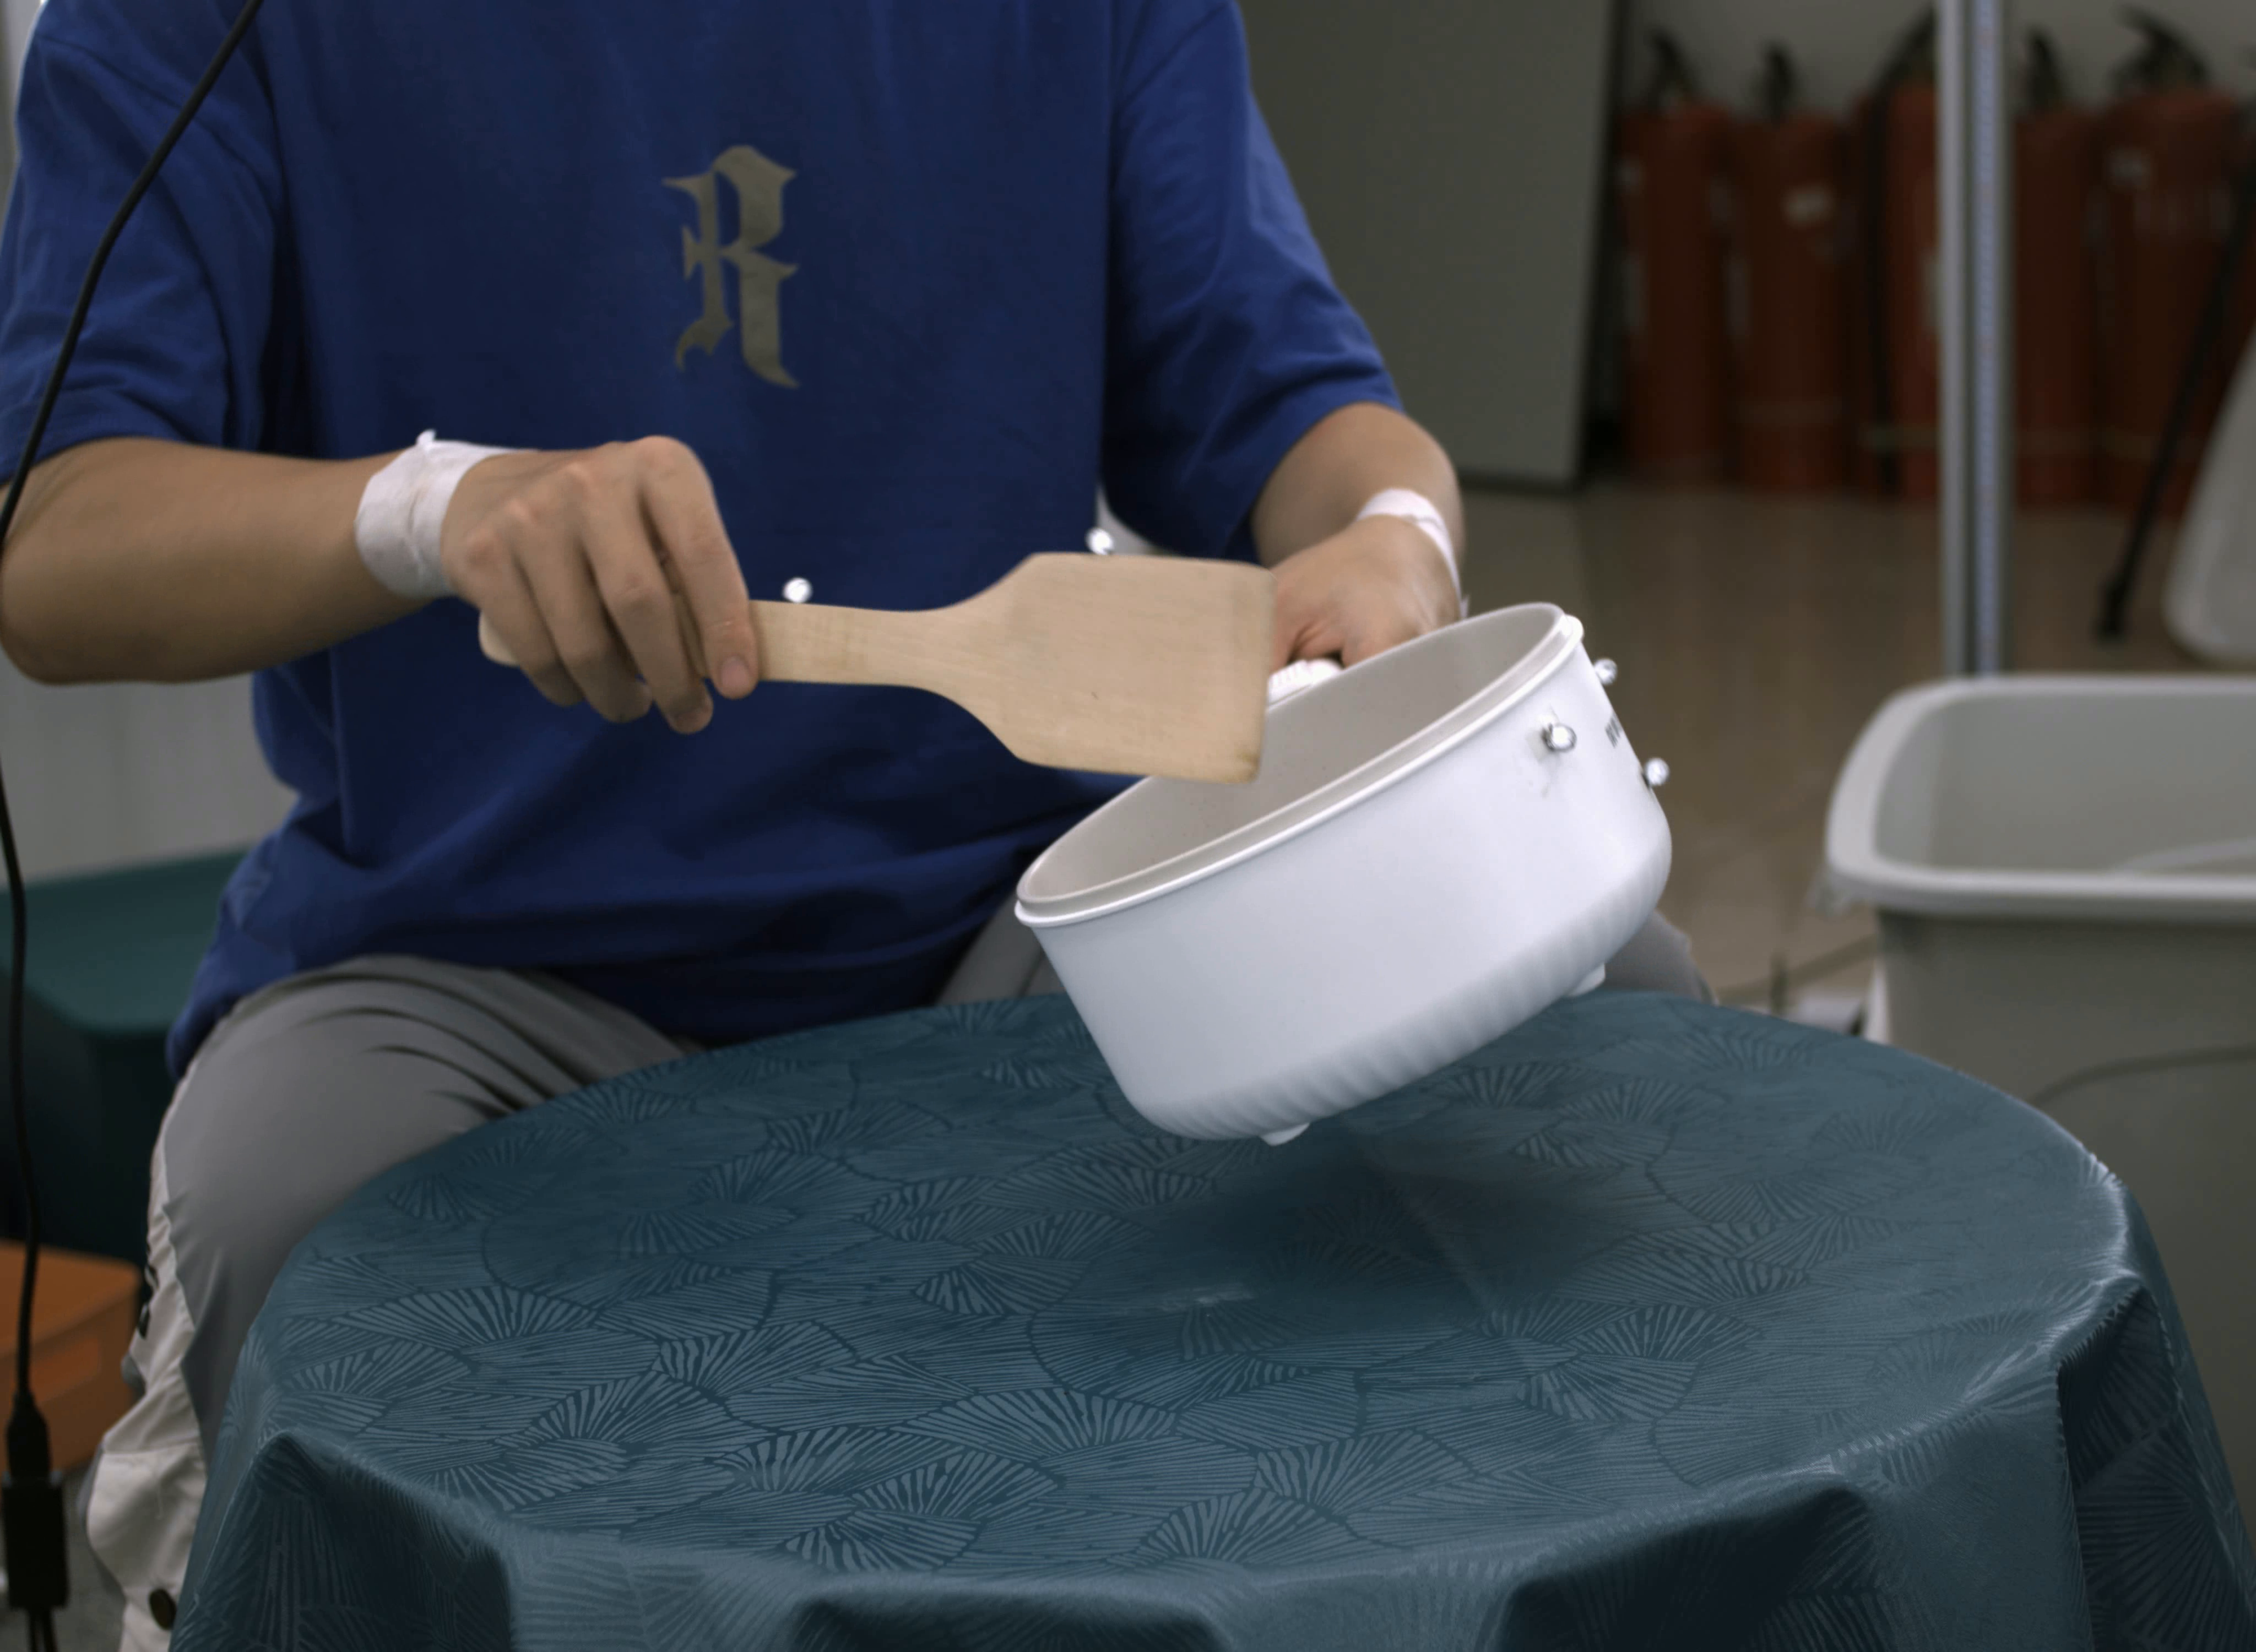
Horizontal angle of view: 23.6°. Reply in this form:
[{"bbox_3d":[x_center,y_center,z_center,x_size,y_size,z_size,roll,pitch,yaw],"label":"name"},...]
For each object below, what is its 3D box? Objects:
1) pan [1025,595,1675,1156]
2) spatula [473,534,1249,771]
[{"bbox_3d":[0.076,0.007,1.774,0.200,0.102,0.355,-30,9,6],"label":"pan"},{"bbox_3d":[-0.092,-0.060,1.751,0.294,0.073,0.010,3,-1,29],"label":"spatula"}]
